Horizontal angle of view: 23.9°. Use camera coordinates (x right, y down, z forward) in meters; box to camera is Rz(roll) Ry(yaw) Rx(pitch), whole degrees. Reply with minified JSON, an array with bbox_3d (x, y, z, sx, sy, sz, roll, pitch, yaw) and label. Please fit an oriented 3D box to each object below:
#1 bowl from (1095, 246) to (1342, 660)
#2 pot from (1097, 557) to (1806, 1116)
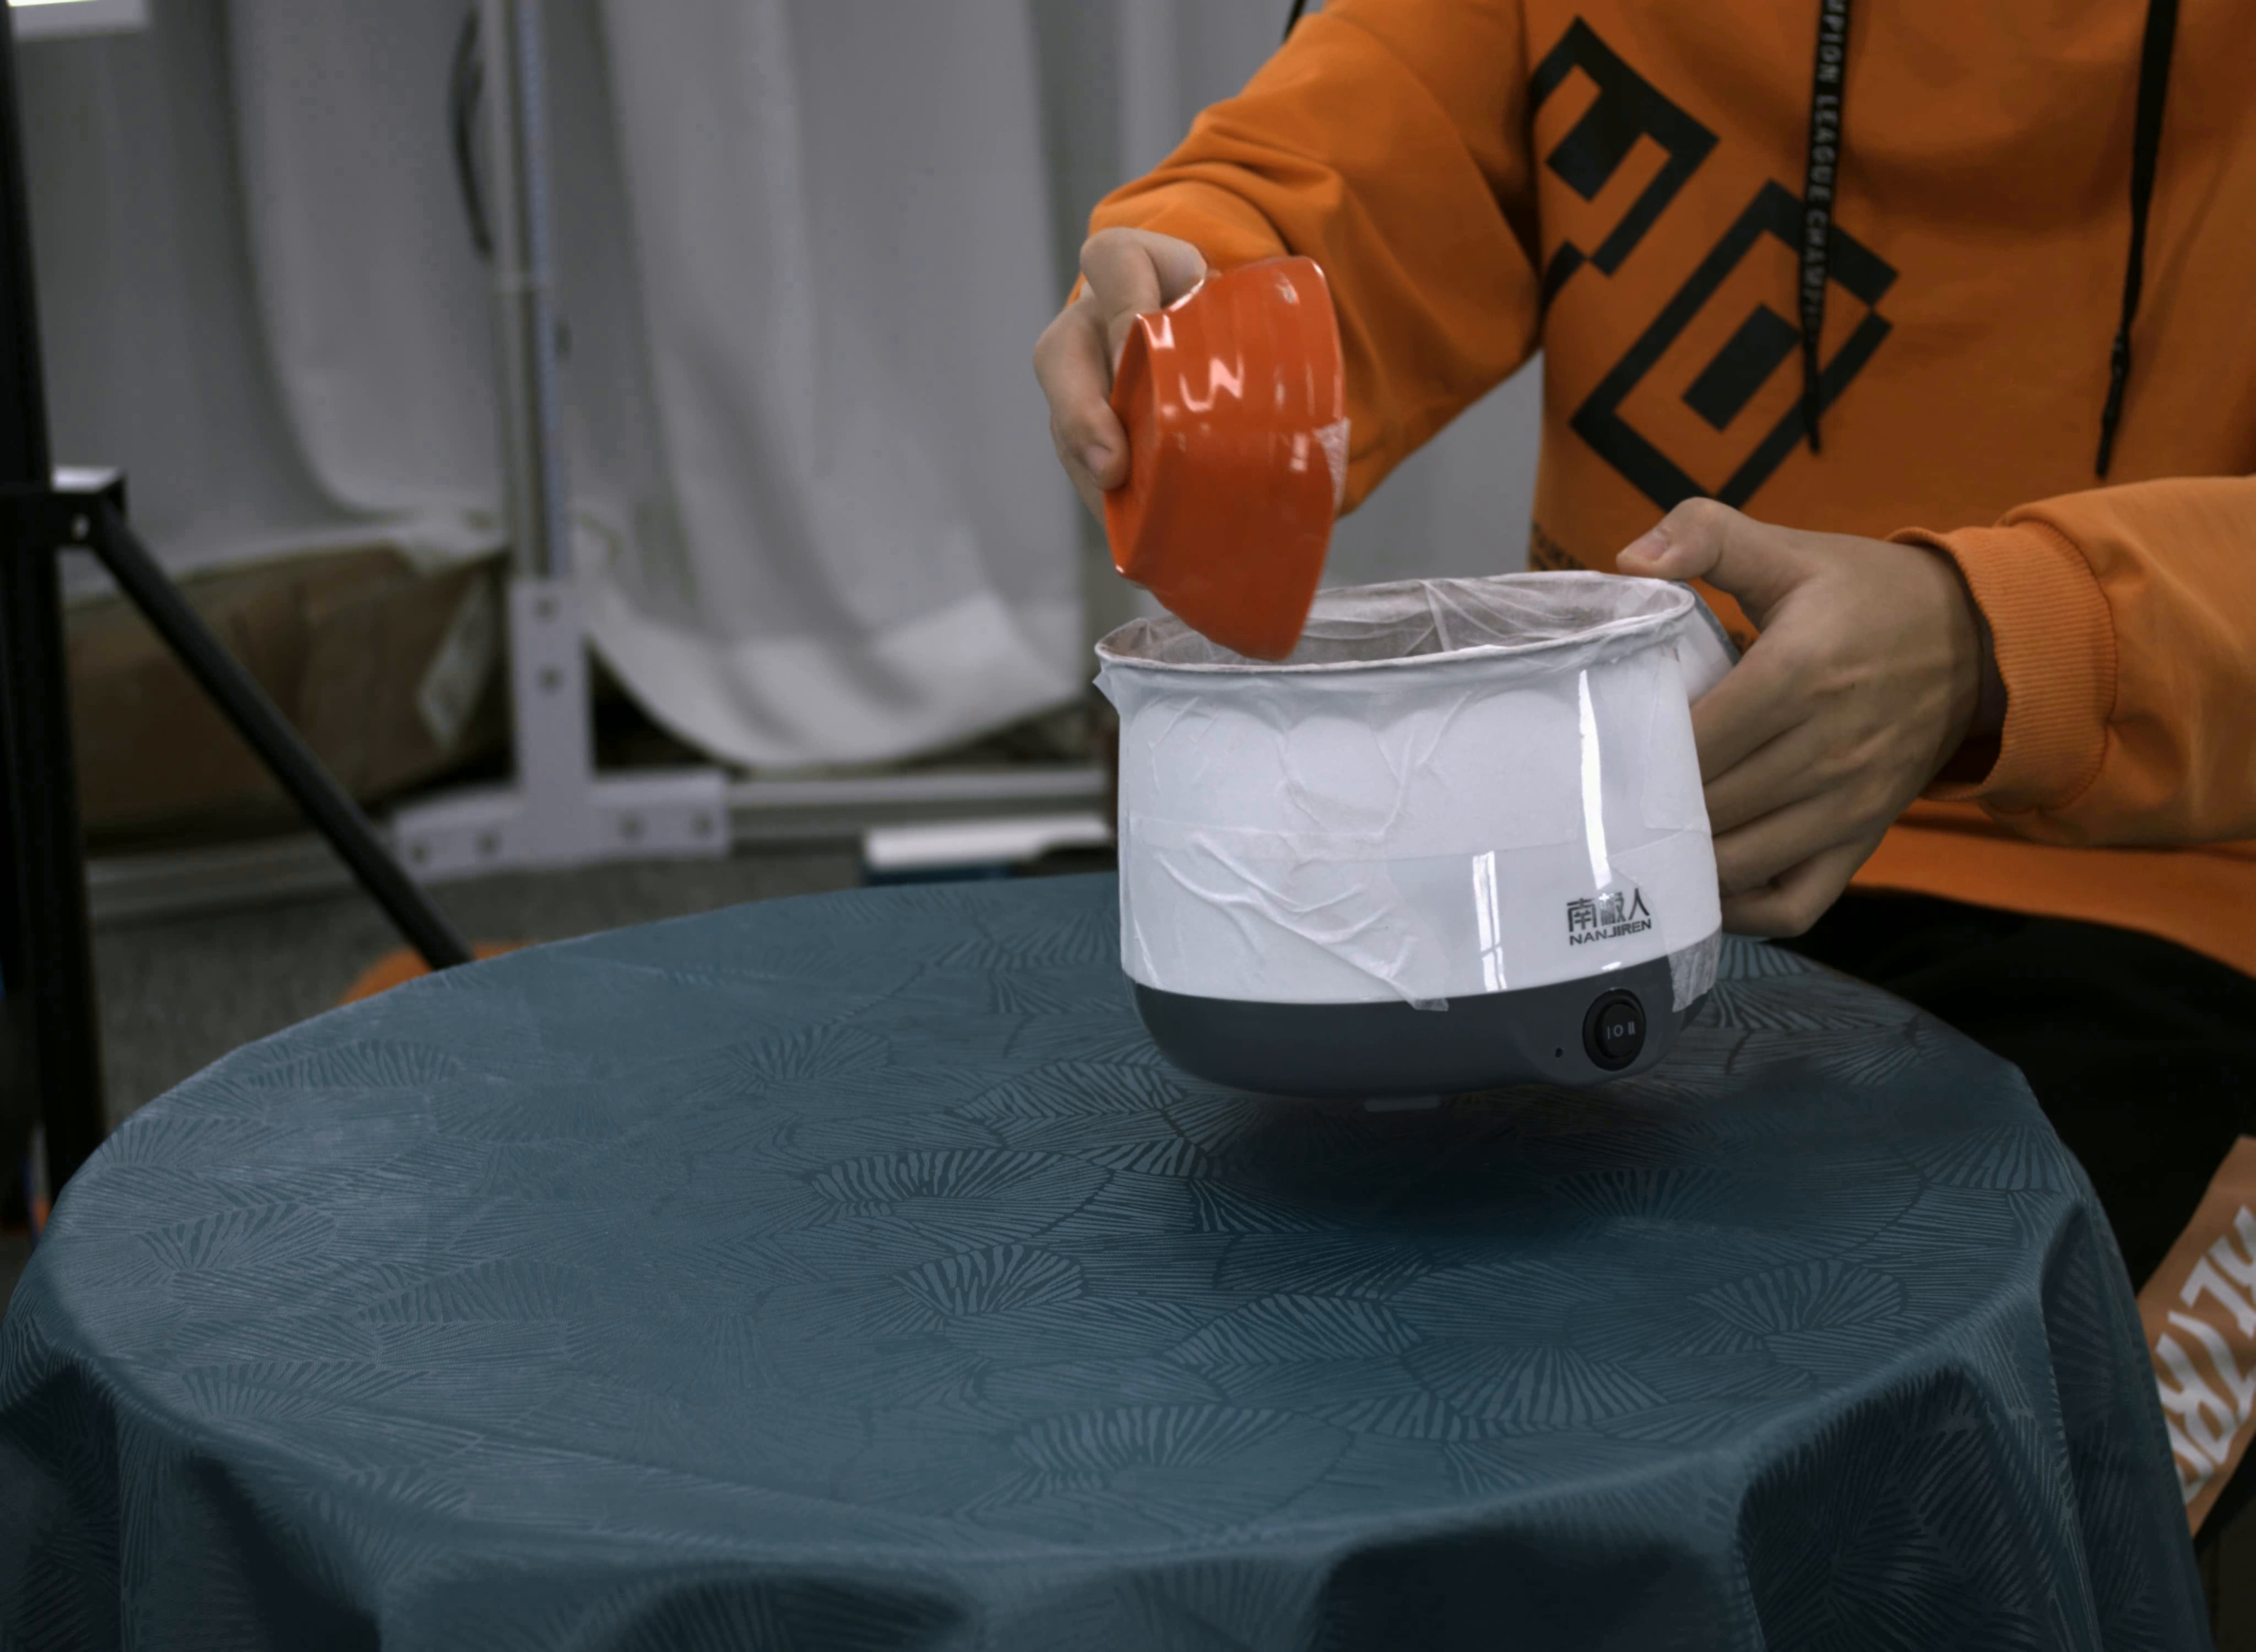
[{"bbox_3d":[0.023,-0.109,1.535,0.050,0.119,0.120,4,14,-12],"label":"bowl"},{"bbox_3d":[0.106,-0.002,1.576,0.228,0.137,0.182,-11,11,-35],"label":"pot"}]
